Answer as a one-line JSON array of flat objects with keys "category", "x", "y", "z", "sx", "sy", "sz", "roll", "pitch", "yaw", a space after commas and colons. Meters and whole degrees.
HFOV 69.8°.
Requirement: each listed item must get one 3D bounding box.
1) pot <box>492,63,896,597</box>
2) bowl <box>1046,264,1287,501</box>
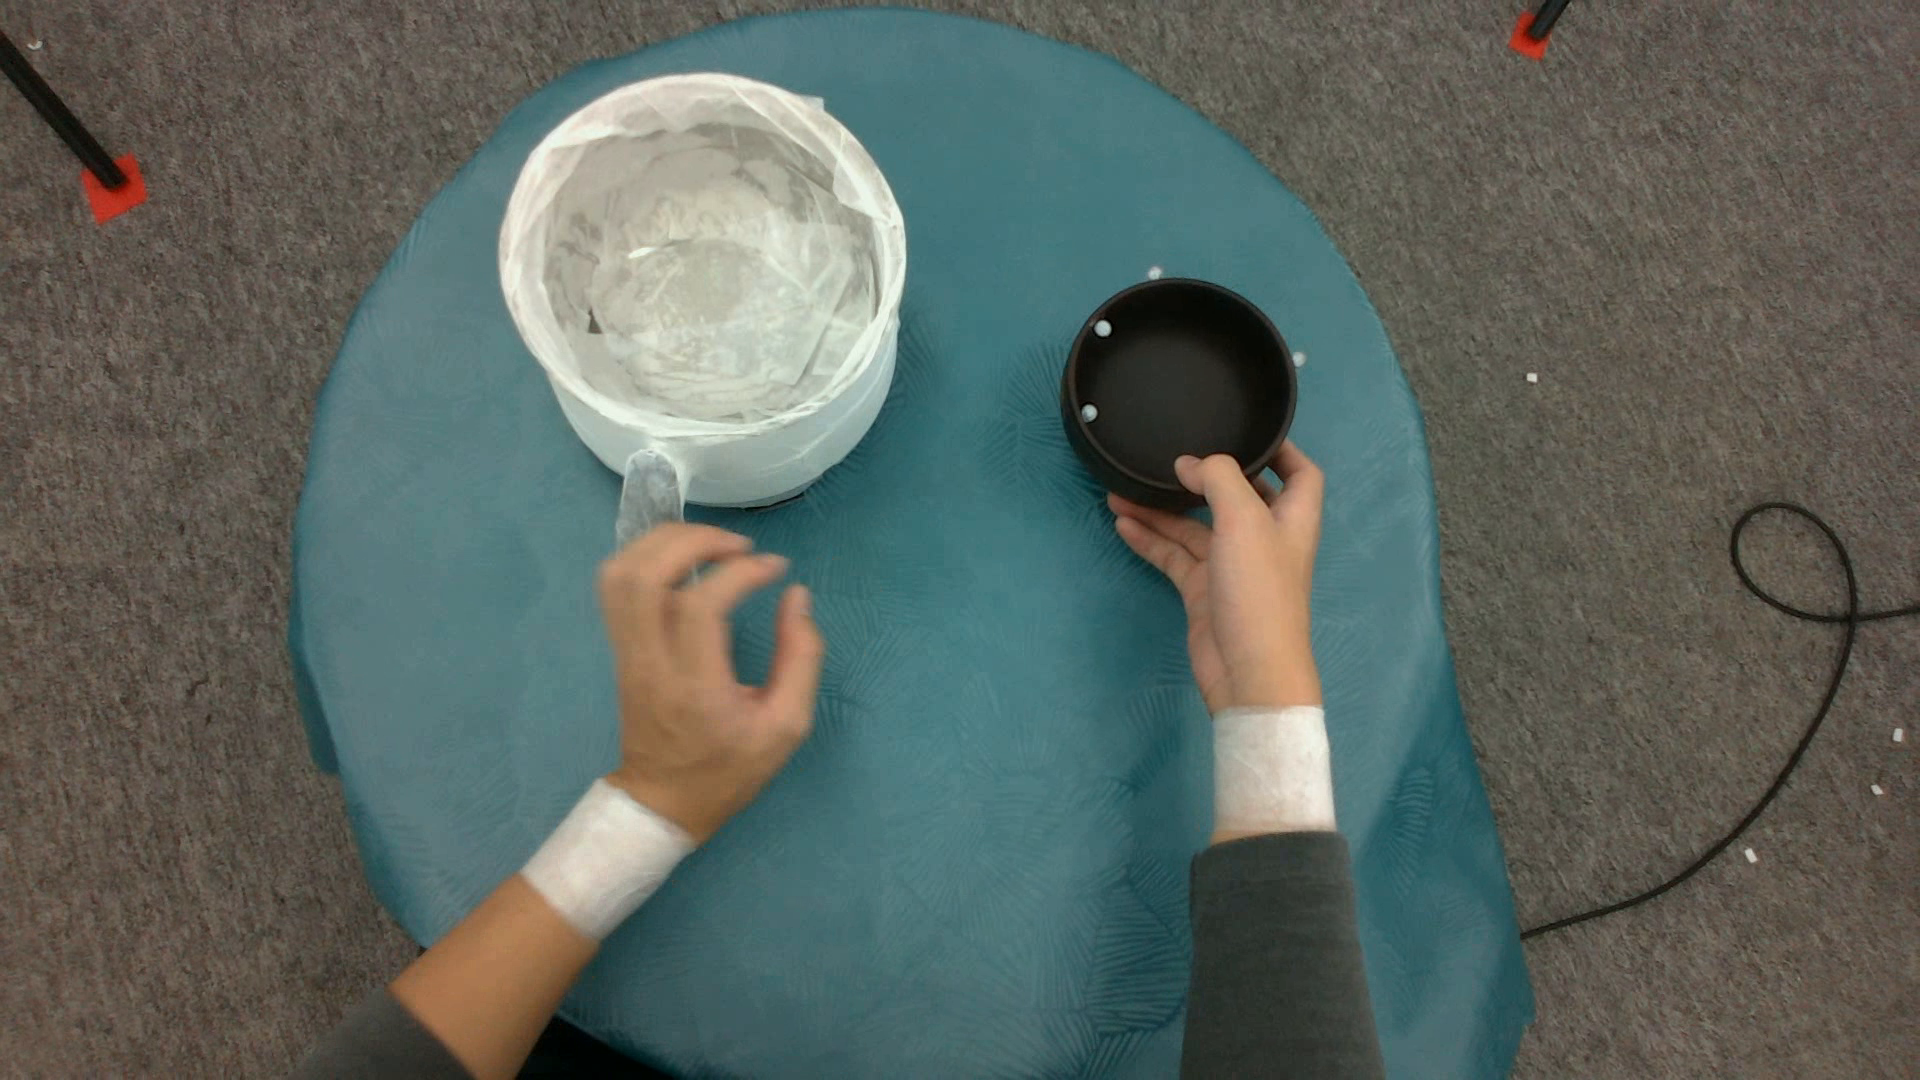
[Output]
[{"category": "pot", "x": -0.127, "y": -0.092, "z": 0.665, "sx": 0.179, "sy": 0.136, "sz": 0.234, "roll": 11, "pitch": 75, "yaw": -3}, {"category": "bowl", "x": 0.101, "y": -0.075, "z": 0.706, "sx": 0.118, "sy": 0.069, "sz": 0.118, "roll": 1, "pitch": 76, "yaw": -5}]
